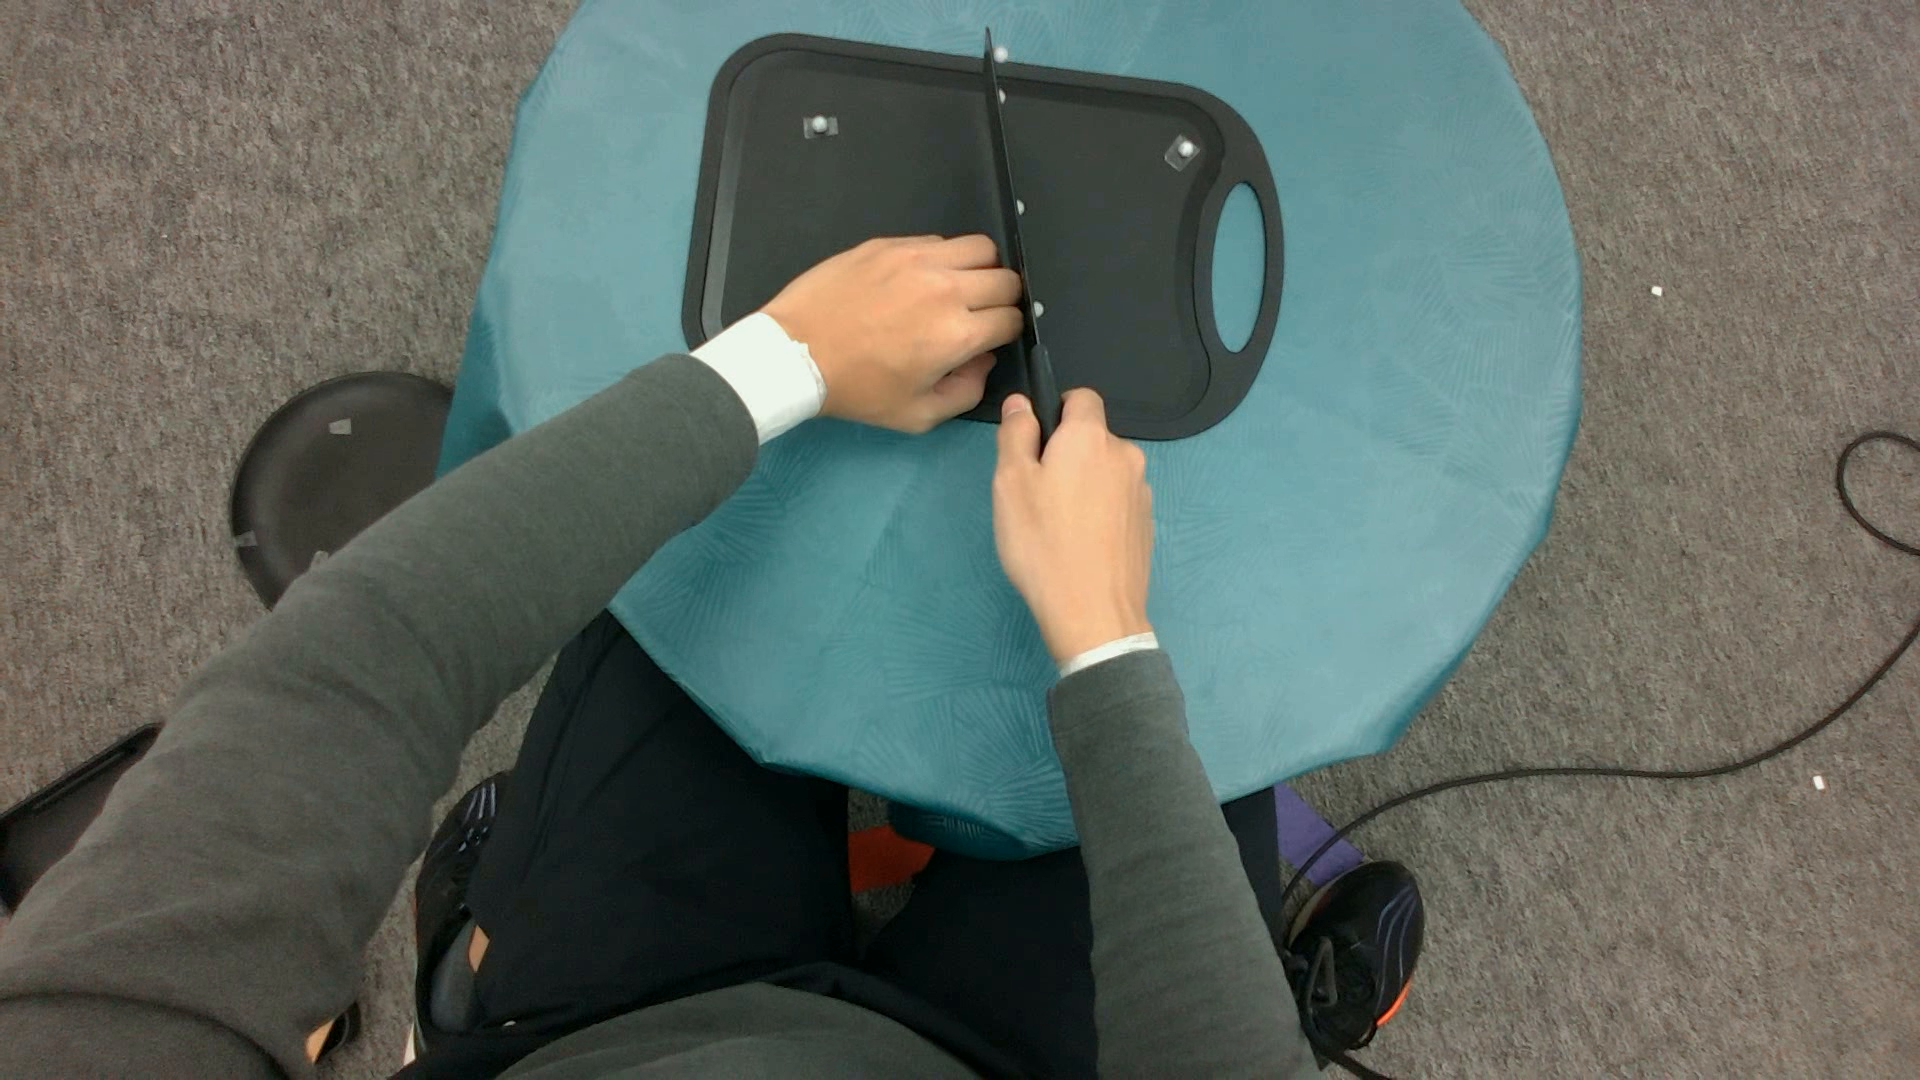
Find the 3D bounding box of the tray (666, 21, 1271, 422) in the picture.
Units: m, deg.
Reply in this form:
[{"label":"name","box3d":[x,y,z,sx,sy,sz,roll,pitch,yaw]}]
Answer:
[{"label":"tray","box3d":[0.011,-0.176,0.751,0.325,0.010,0.211,6,77,-4]}]

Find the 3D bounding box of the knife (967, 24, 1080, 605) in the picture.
[{"label":"knife","box3d":[0.027,-0.116,0.703,0.021,0.081,0.303,-8,75,-3]}]
